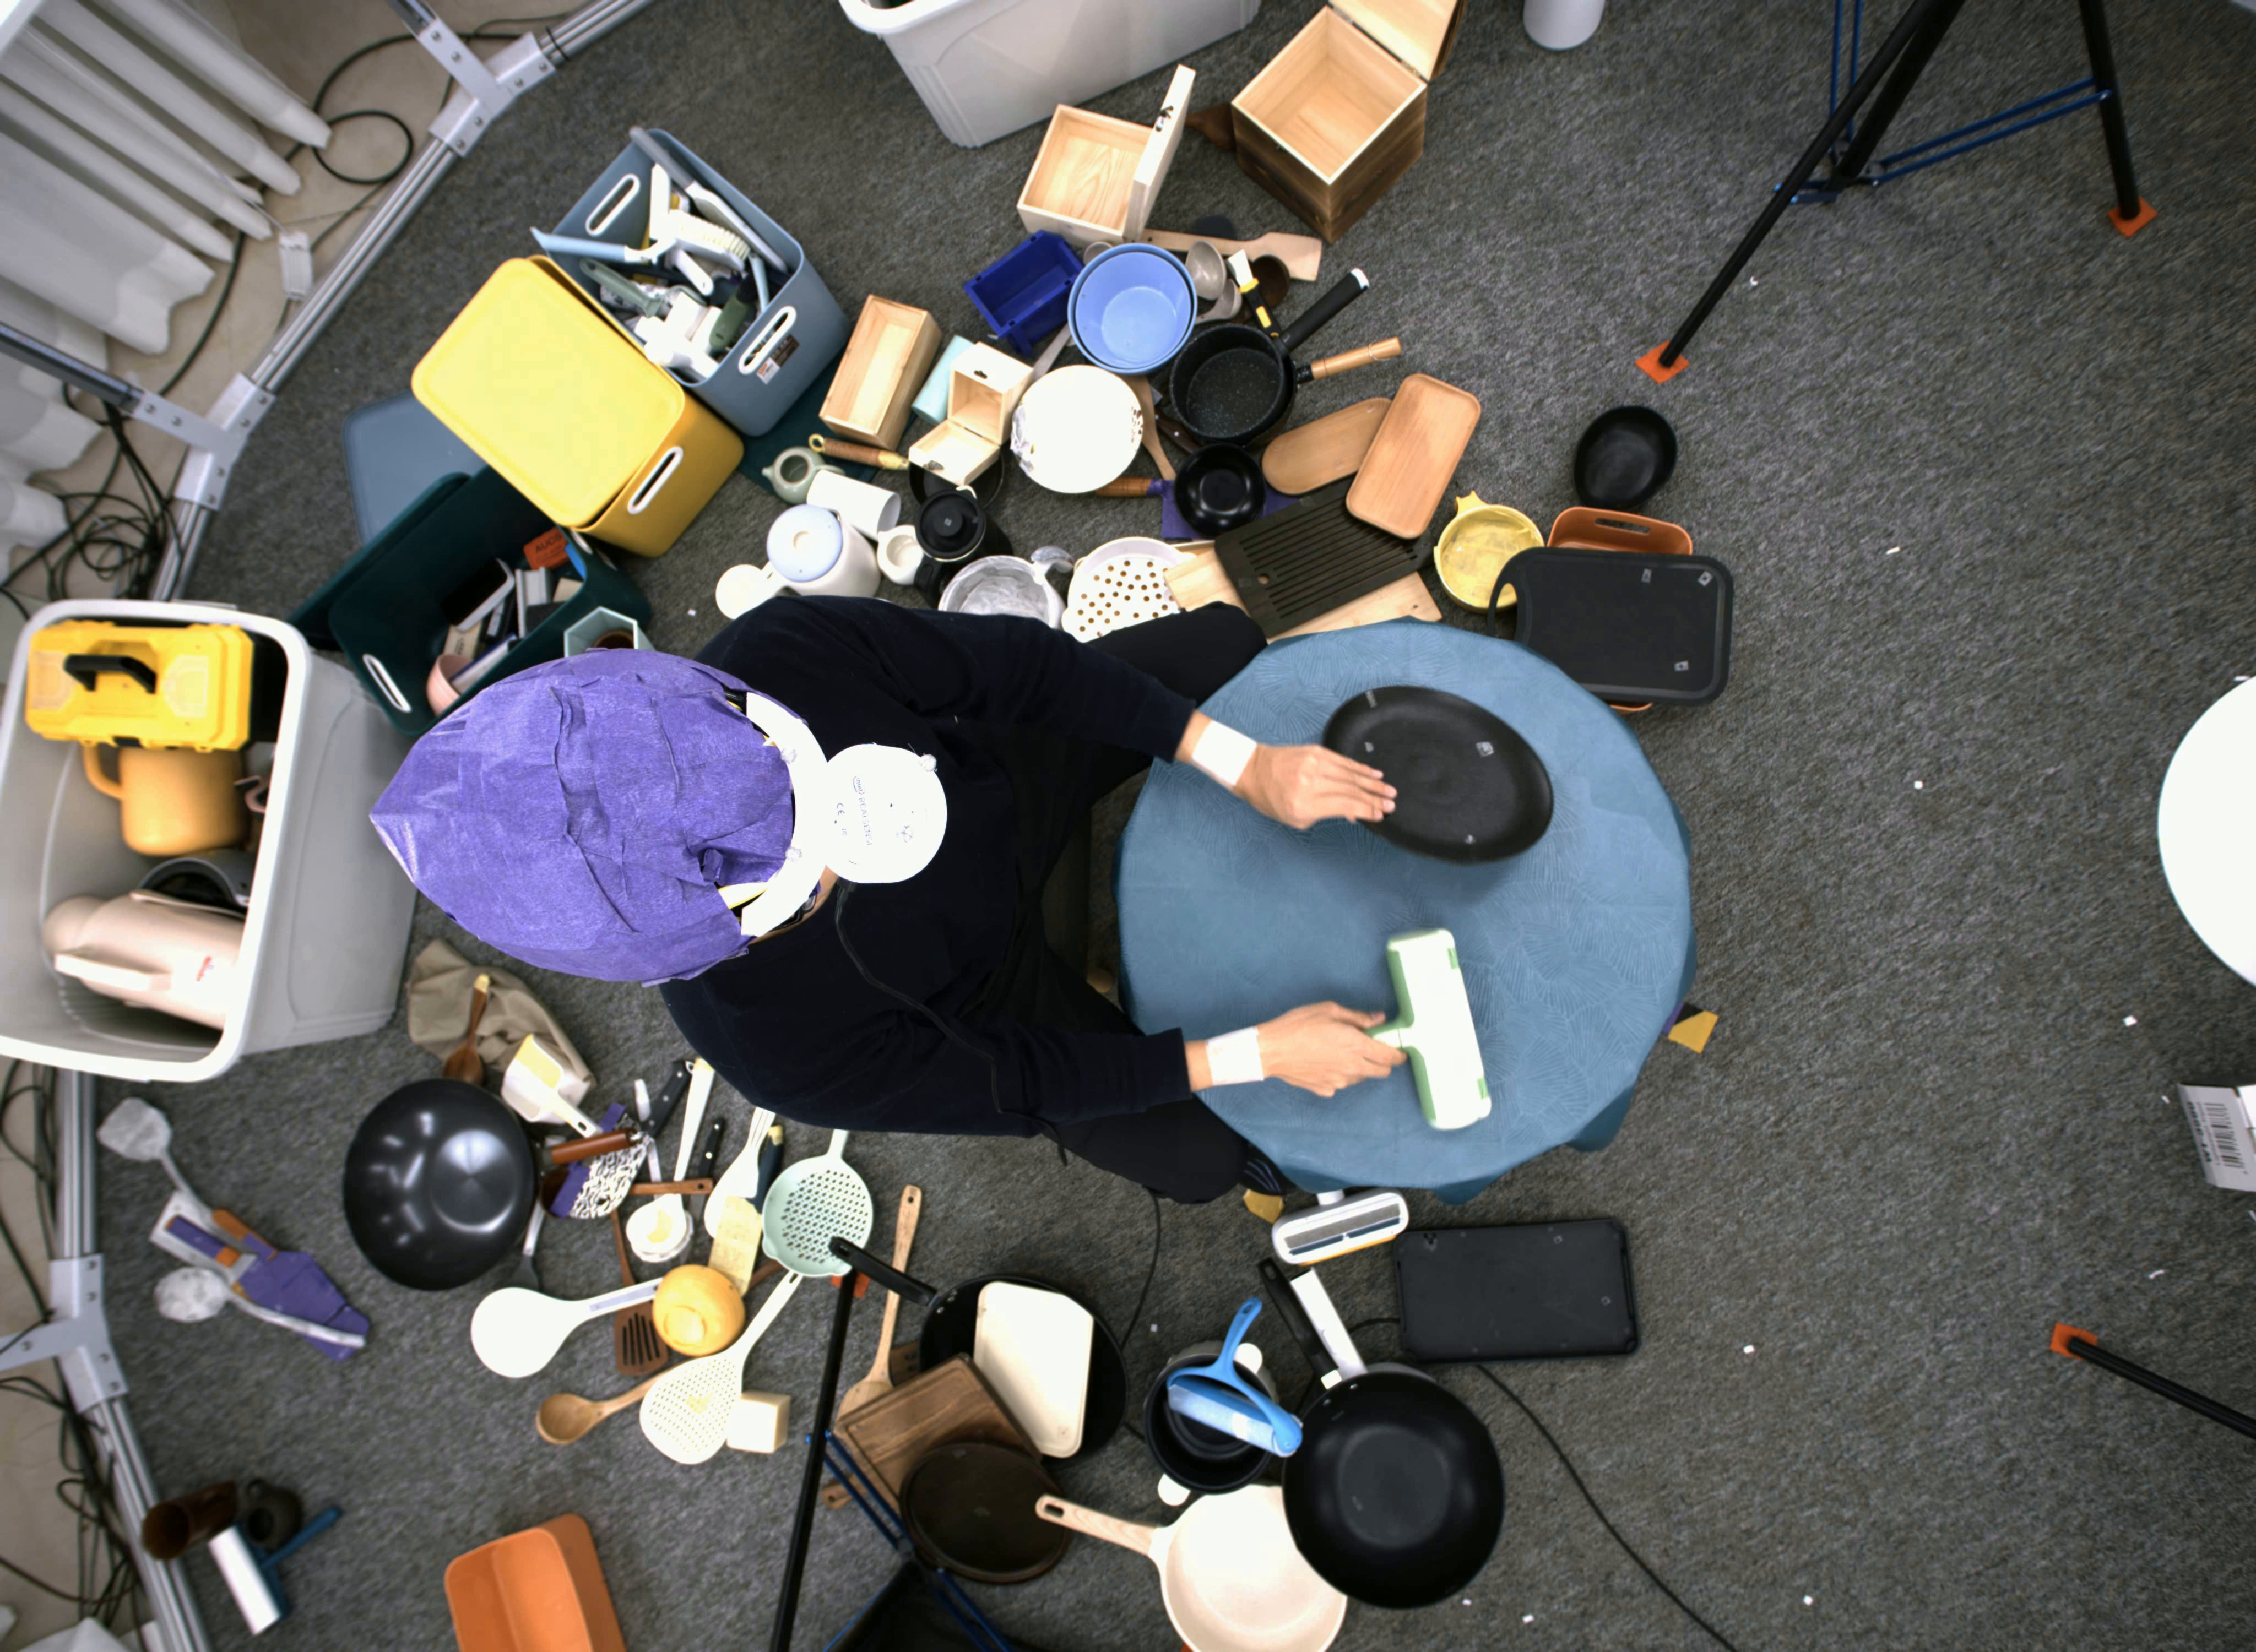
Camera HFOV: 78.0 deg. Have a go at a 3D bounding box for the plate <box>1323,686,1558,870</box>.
[{"bbox_3d":[0.313,-0.050,1.388,0.244,0.024,0.238,5,52,-7],"label":"plate"}]

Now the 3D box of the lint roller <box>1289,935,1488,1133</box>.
[{"bbox_3d":[0.256,0.221,1.384,0.183,0.082,0.199,-13,94,-5],"label":"lint roller"}]
